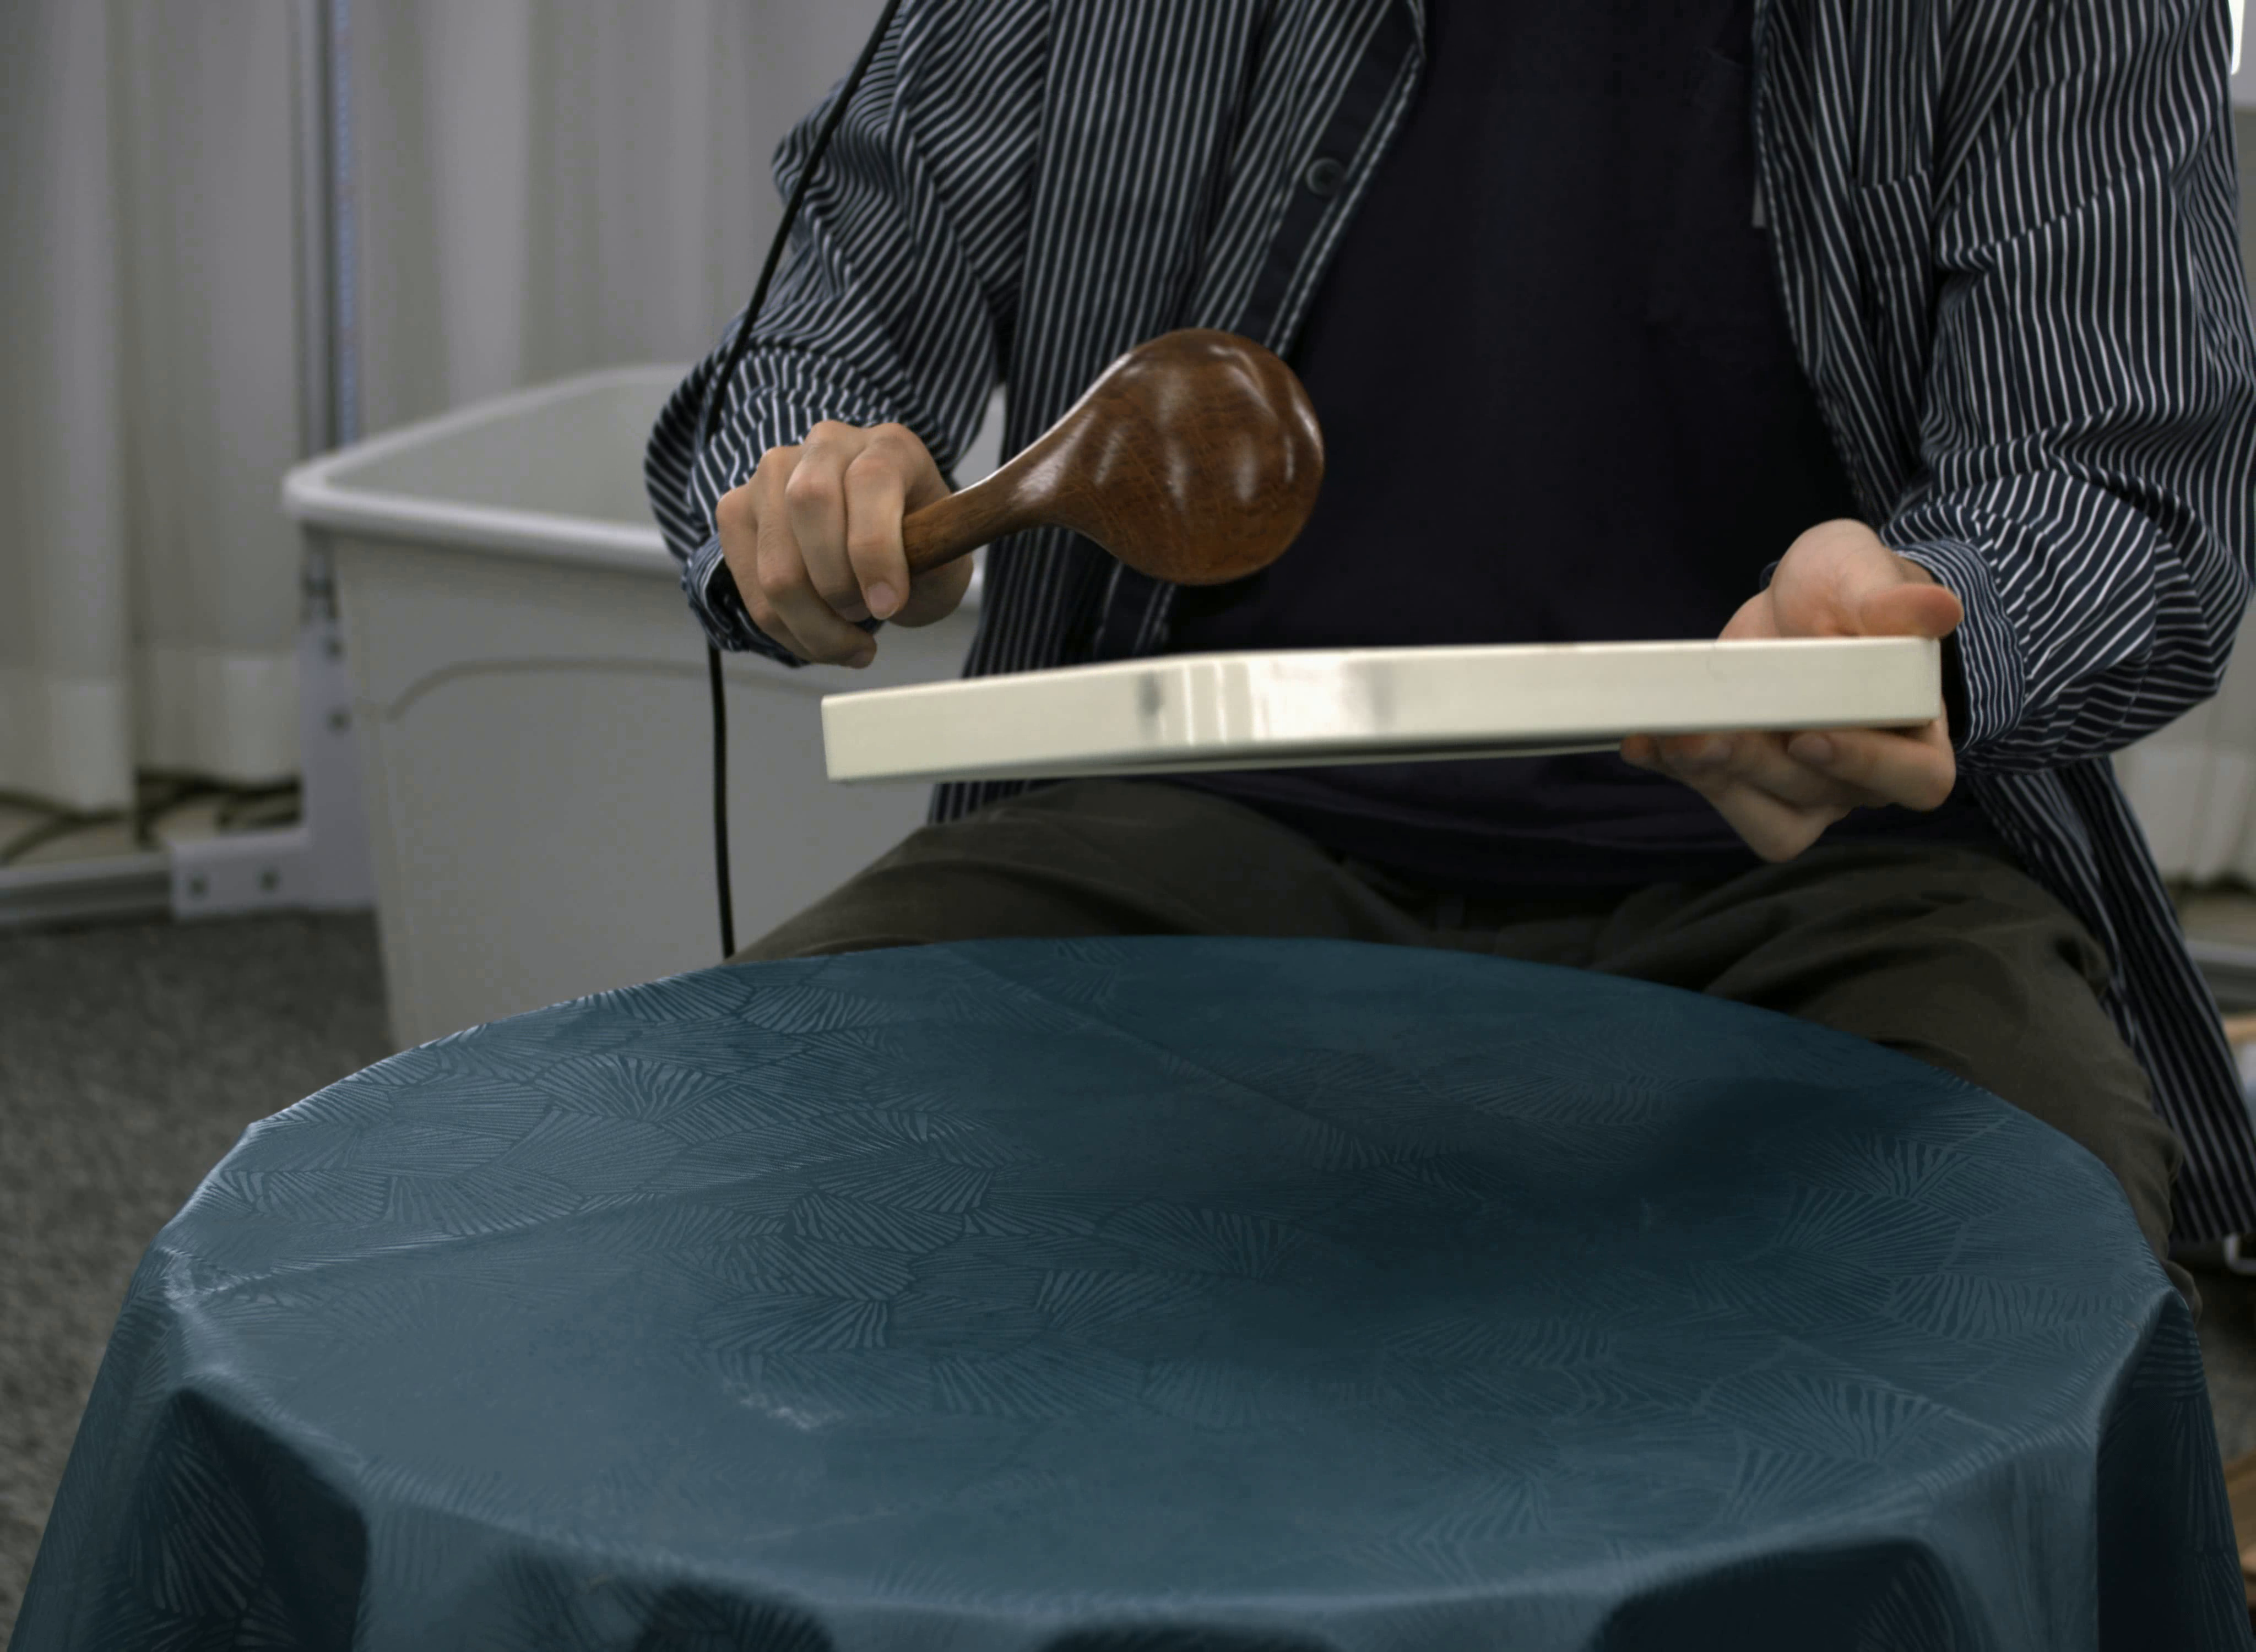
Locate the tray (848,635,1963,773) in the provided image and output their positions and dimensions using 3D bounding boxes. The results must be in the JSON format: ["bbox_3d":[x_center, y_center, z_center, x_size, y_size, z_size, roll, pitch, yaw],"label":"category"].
[{"bbox_3d":[0.085,-0.036,1.580,0.302,0.027,0.190,-2,-2,-37],"label":"tray"}]

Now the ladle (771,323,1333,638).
[{"bbox_3d":[-0.027,-0.100,1.731,0.077,0.082,0.272,7,-13,-27],"label":"ladle"}]
